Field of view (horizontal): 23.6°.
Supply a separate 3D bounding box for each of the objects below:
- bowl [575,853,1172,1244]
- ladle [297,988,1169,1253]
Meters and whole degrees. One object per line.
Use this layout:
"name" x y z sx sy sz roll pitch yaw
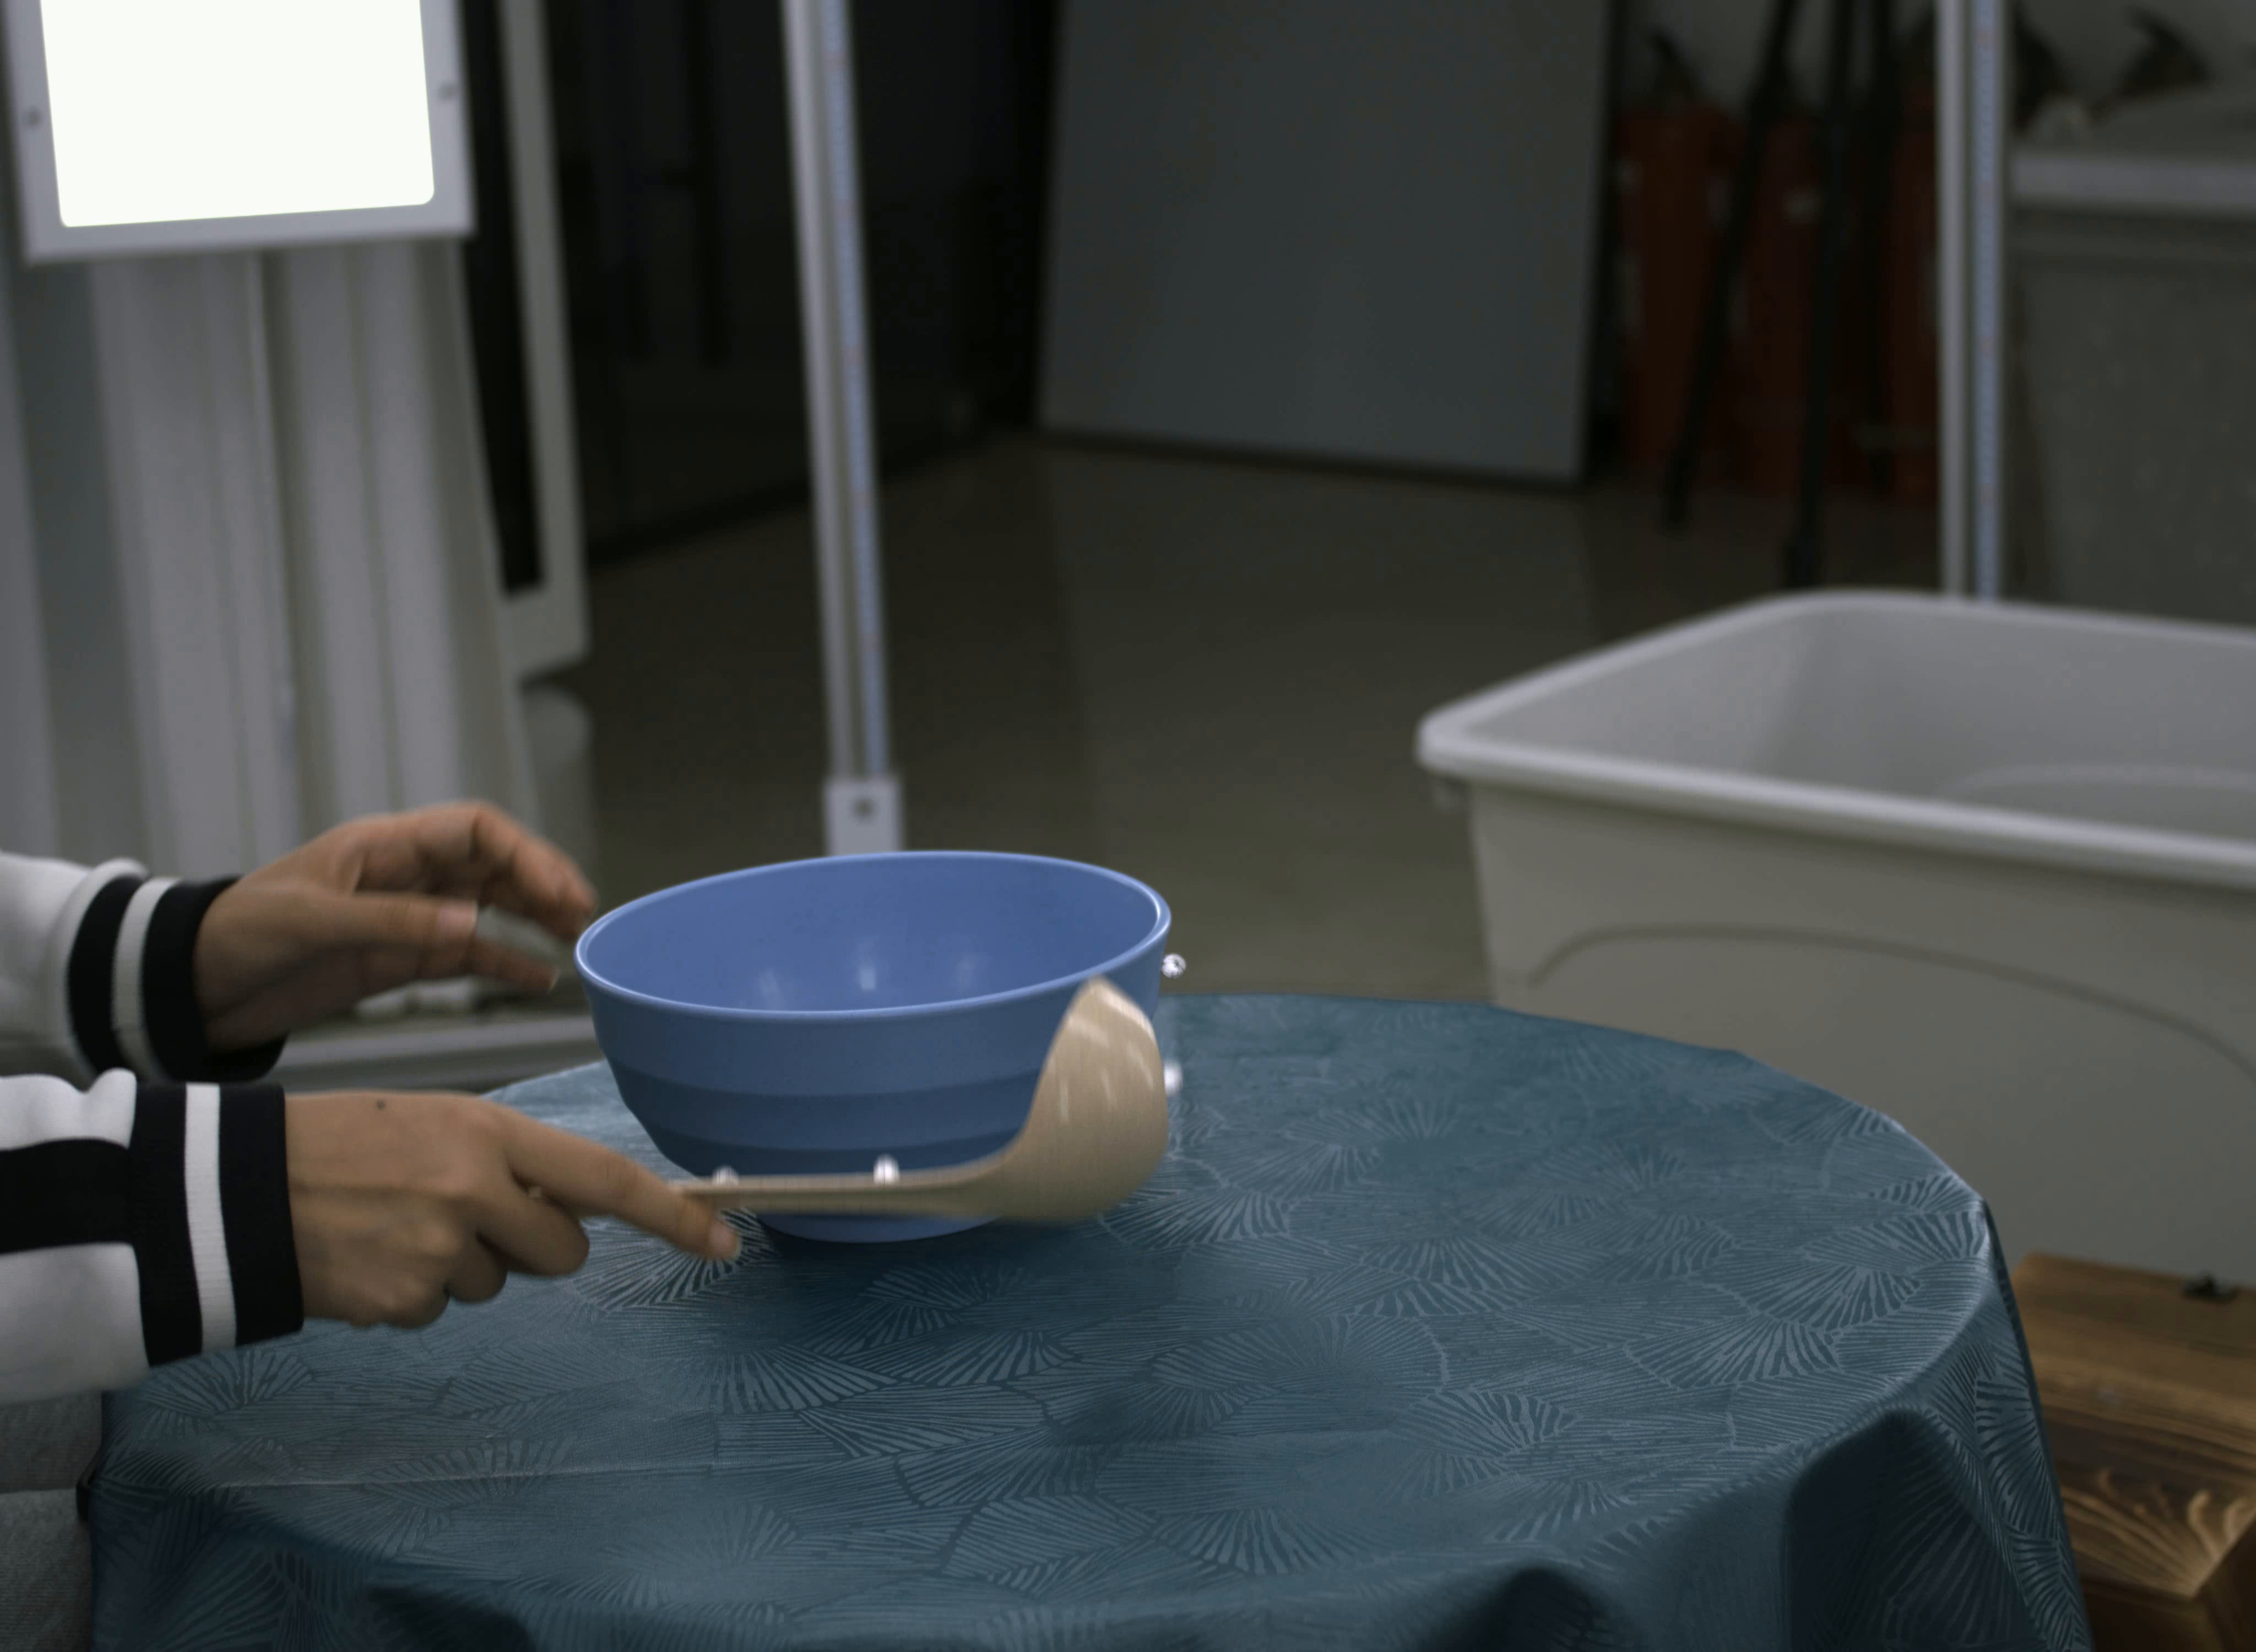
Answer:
"bowl" -0.082 0.078 1.767 0.194 0.096 0.197 -2 13 -1
"ladle" -0.114 0.088 1.573 0.250 0.072 0.073 -2 48 -3
